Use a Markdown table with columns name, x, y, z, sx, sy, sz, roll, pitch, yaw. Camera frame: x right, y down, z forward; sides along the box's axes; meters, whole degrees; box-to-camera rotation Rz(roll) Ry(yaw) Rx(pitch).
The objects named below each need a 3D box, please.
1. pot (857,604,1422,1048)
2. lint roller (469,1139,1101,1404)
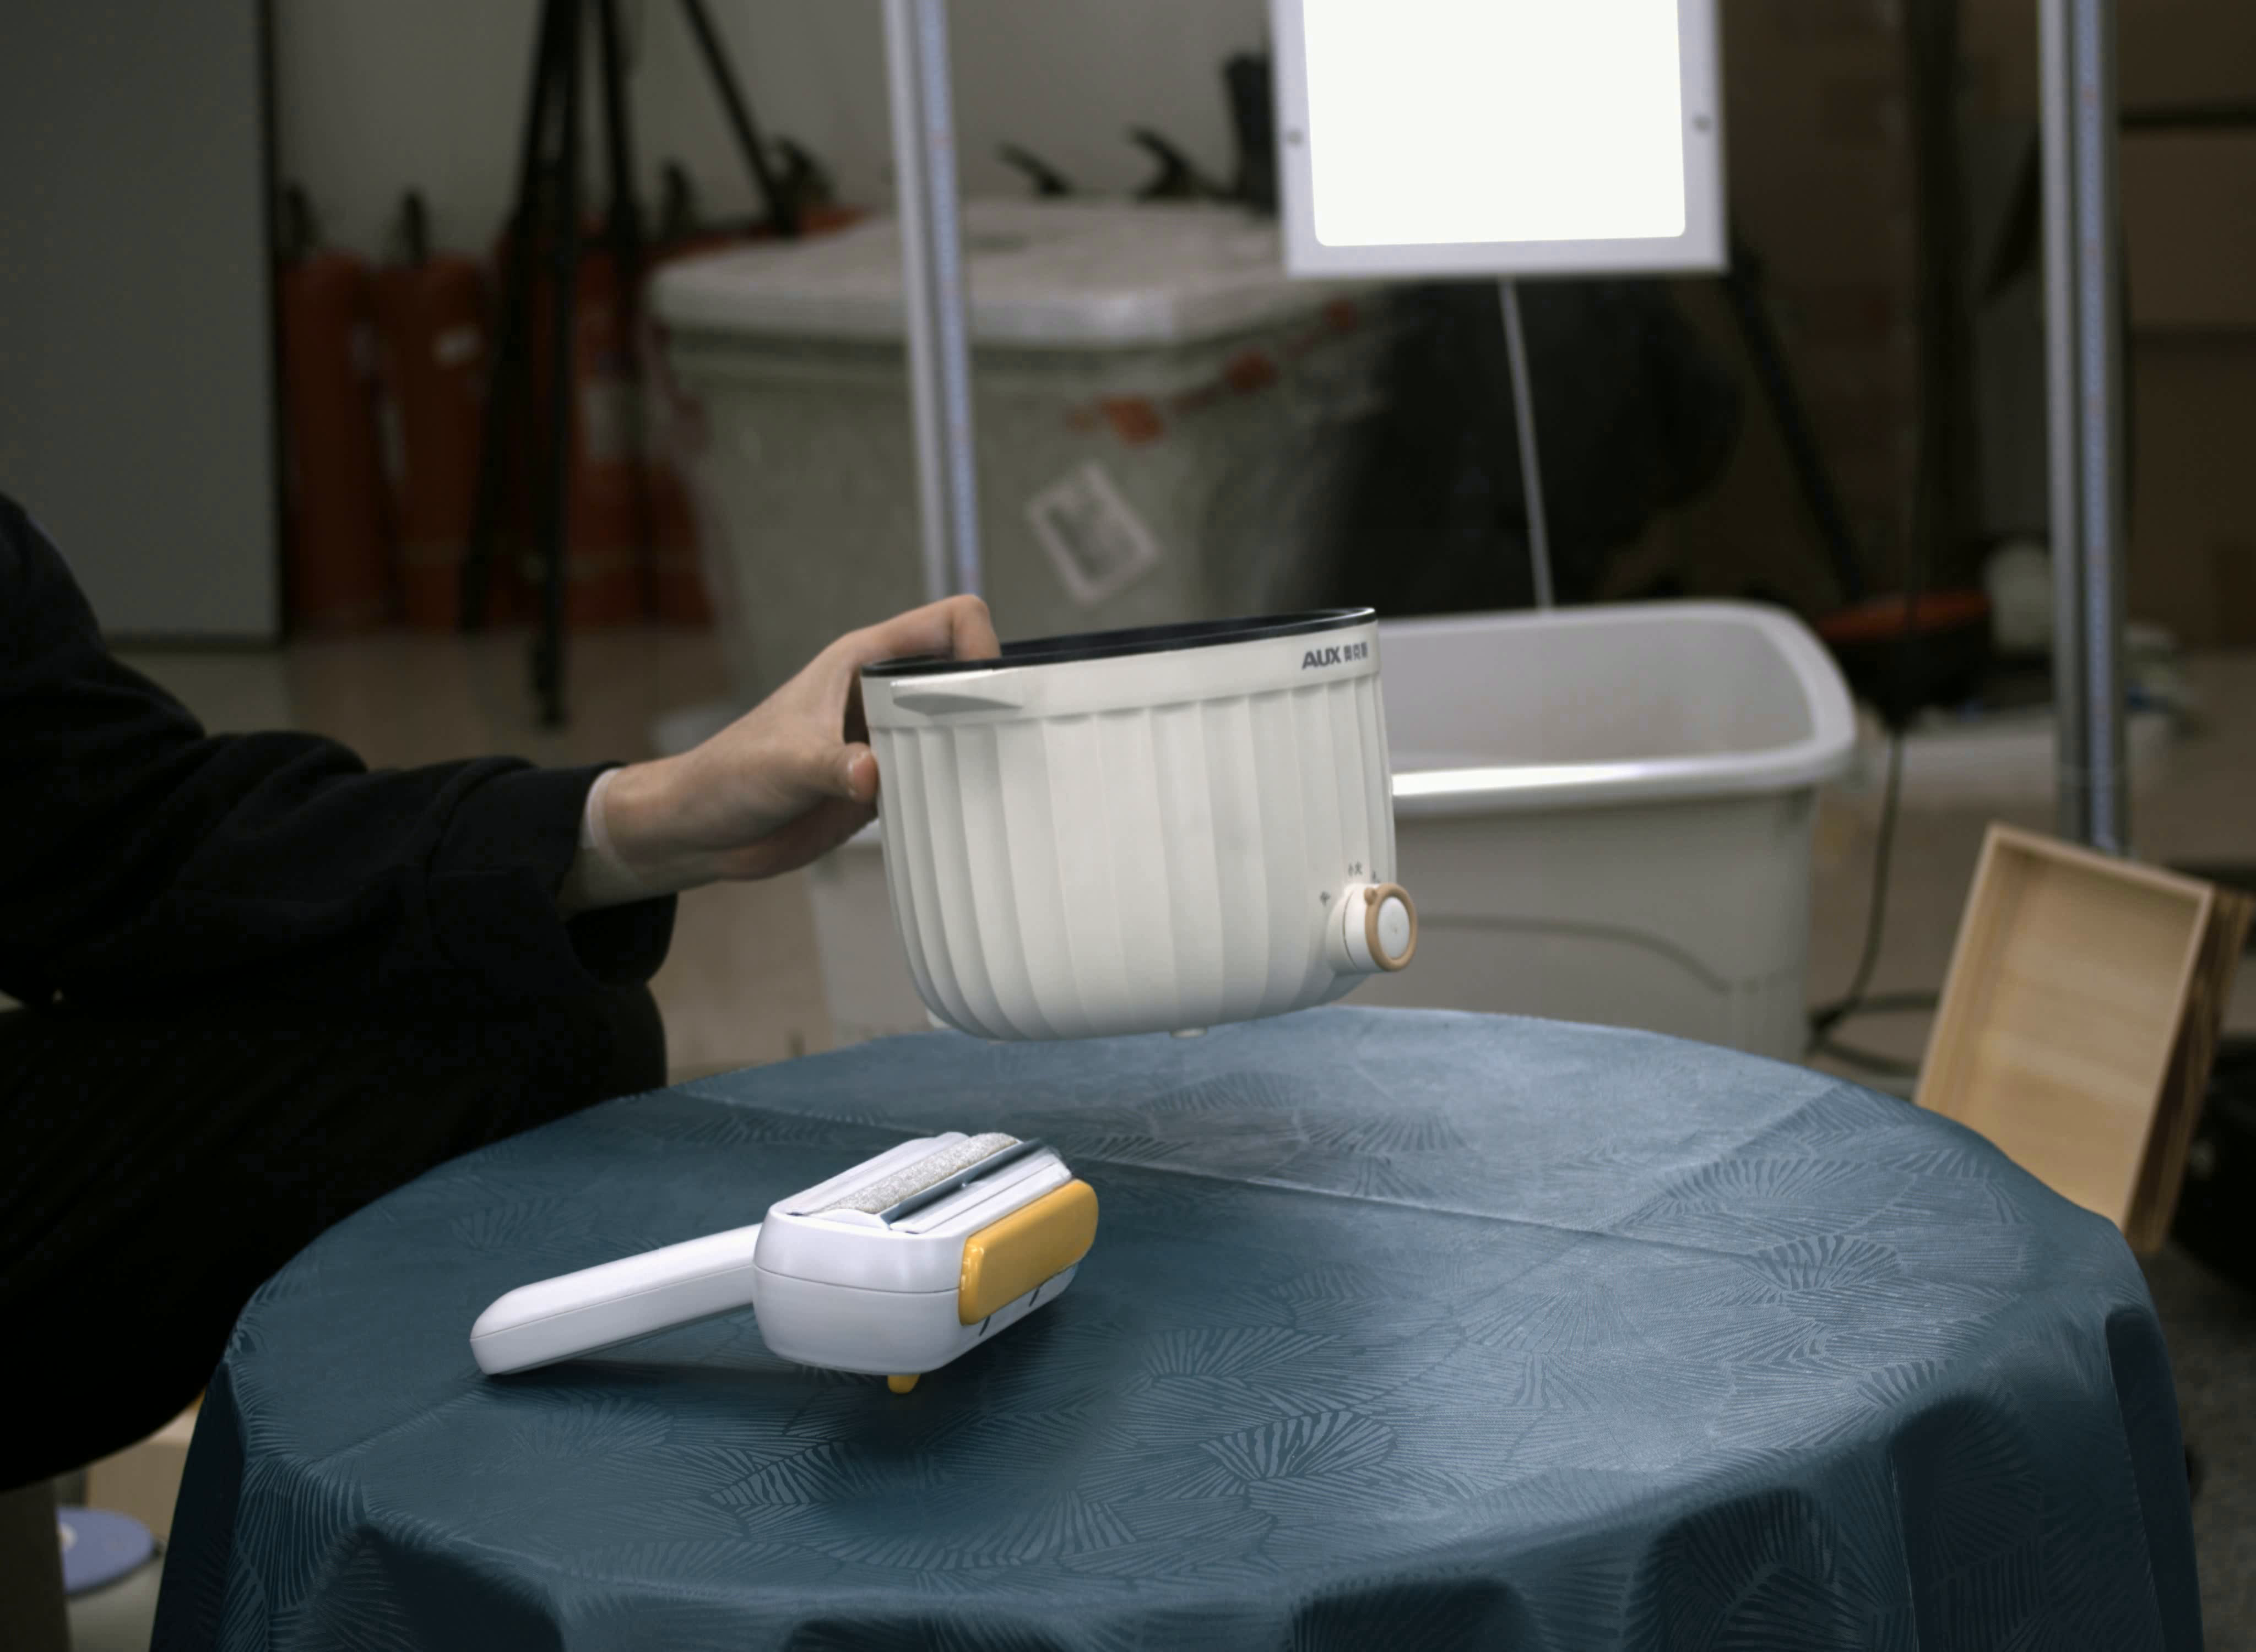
| name | x | y | z | sx | sy | sz | roll | pitch | yaw |
| --- | --- | --- | --- | --- | --- | --- | --- | --- | --- |
| pot | 0.009 | 0.000 | 1.906 | 0.194 | 0.143 | 0.234 | -7 | 4 | 36 |
| lint roller | -0.120 | 0.142 | 1.735 | 0.195 | 0.074 | 0.189 | -2 | 8 | 20 |
